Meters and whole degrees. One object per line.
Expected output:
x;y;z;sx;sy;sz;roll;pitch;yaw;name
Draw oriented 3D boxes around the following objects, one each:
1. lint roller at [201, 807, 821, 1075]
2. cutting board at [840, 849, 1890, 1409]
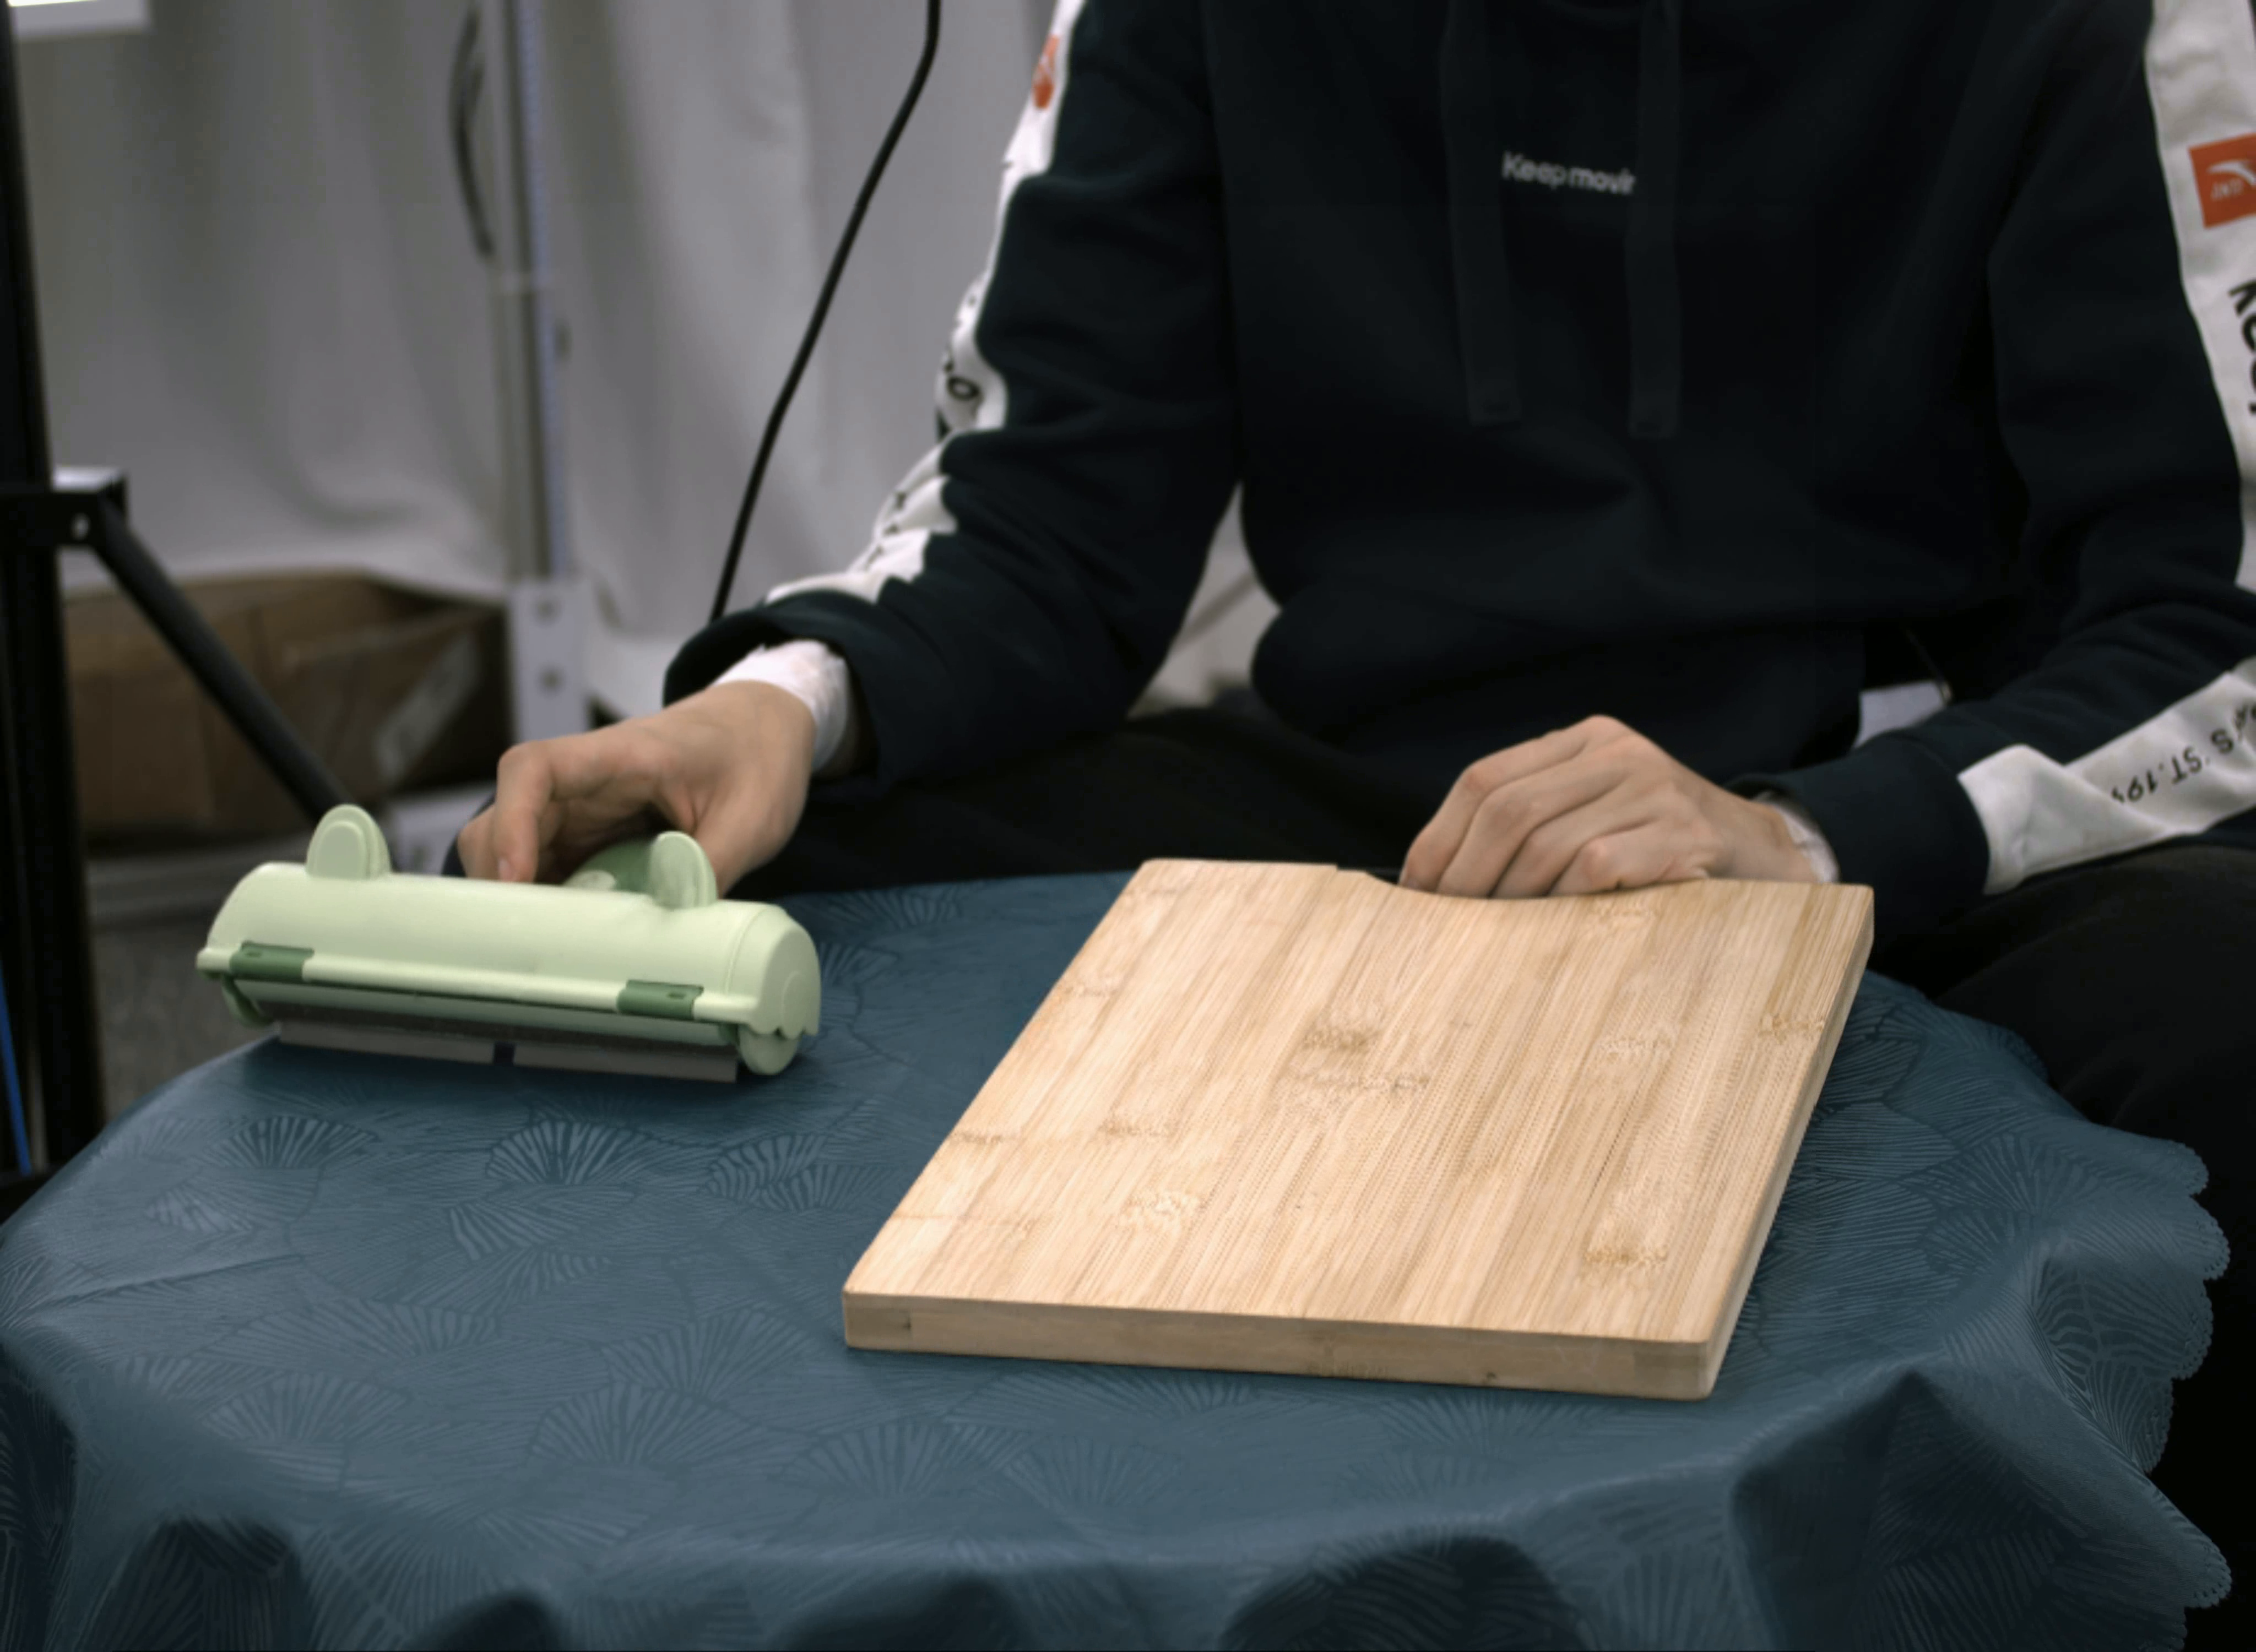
-0.178;0.016;1.750;0.201;0.082;0.182;4;26;22;lint roller
0.081;0.081;1.566;0.253;0.023;0.346;2;21;15;cutting board
